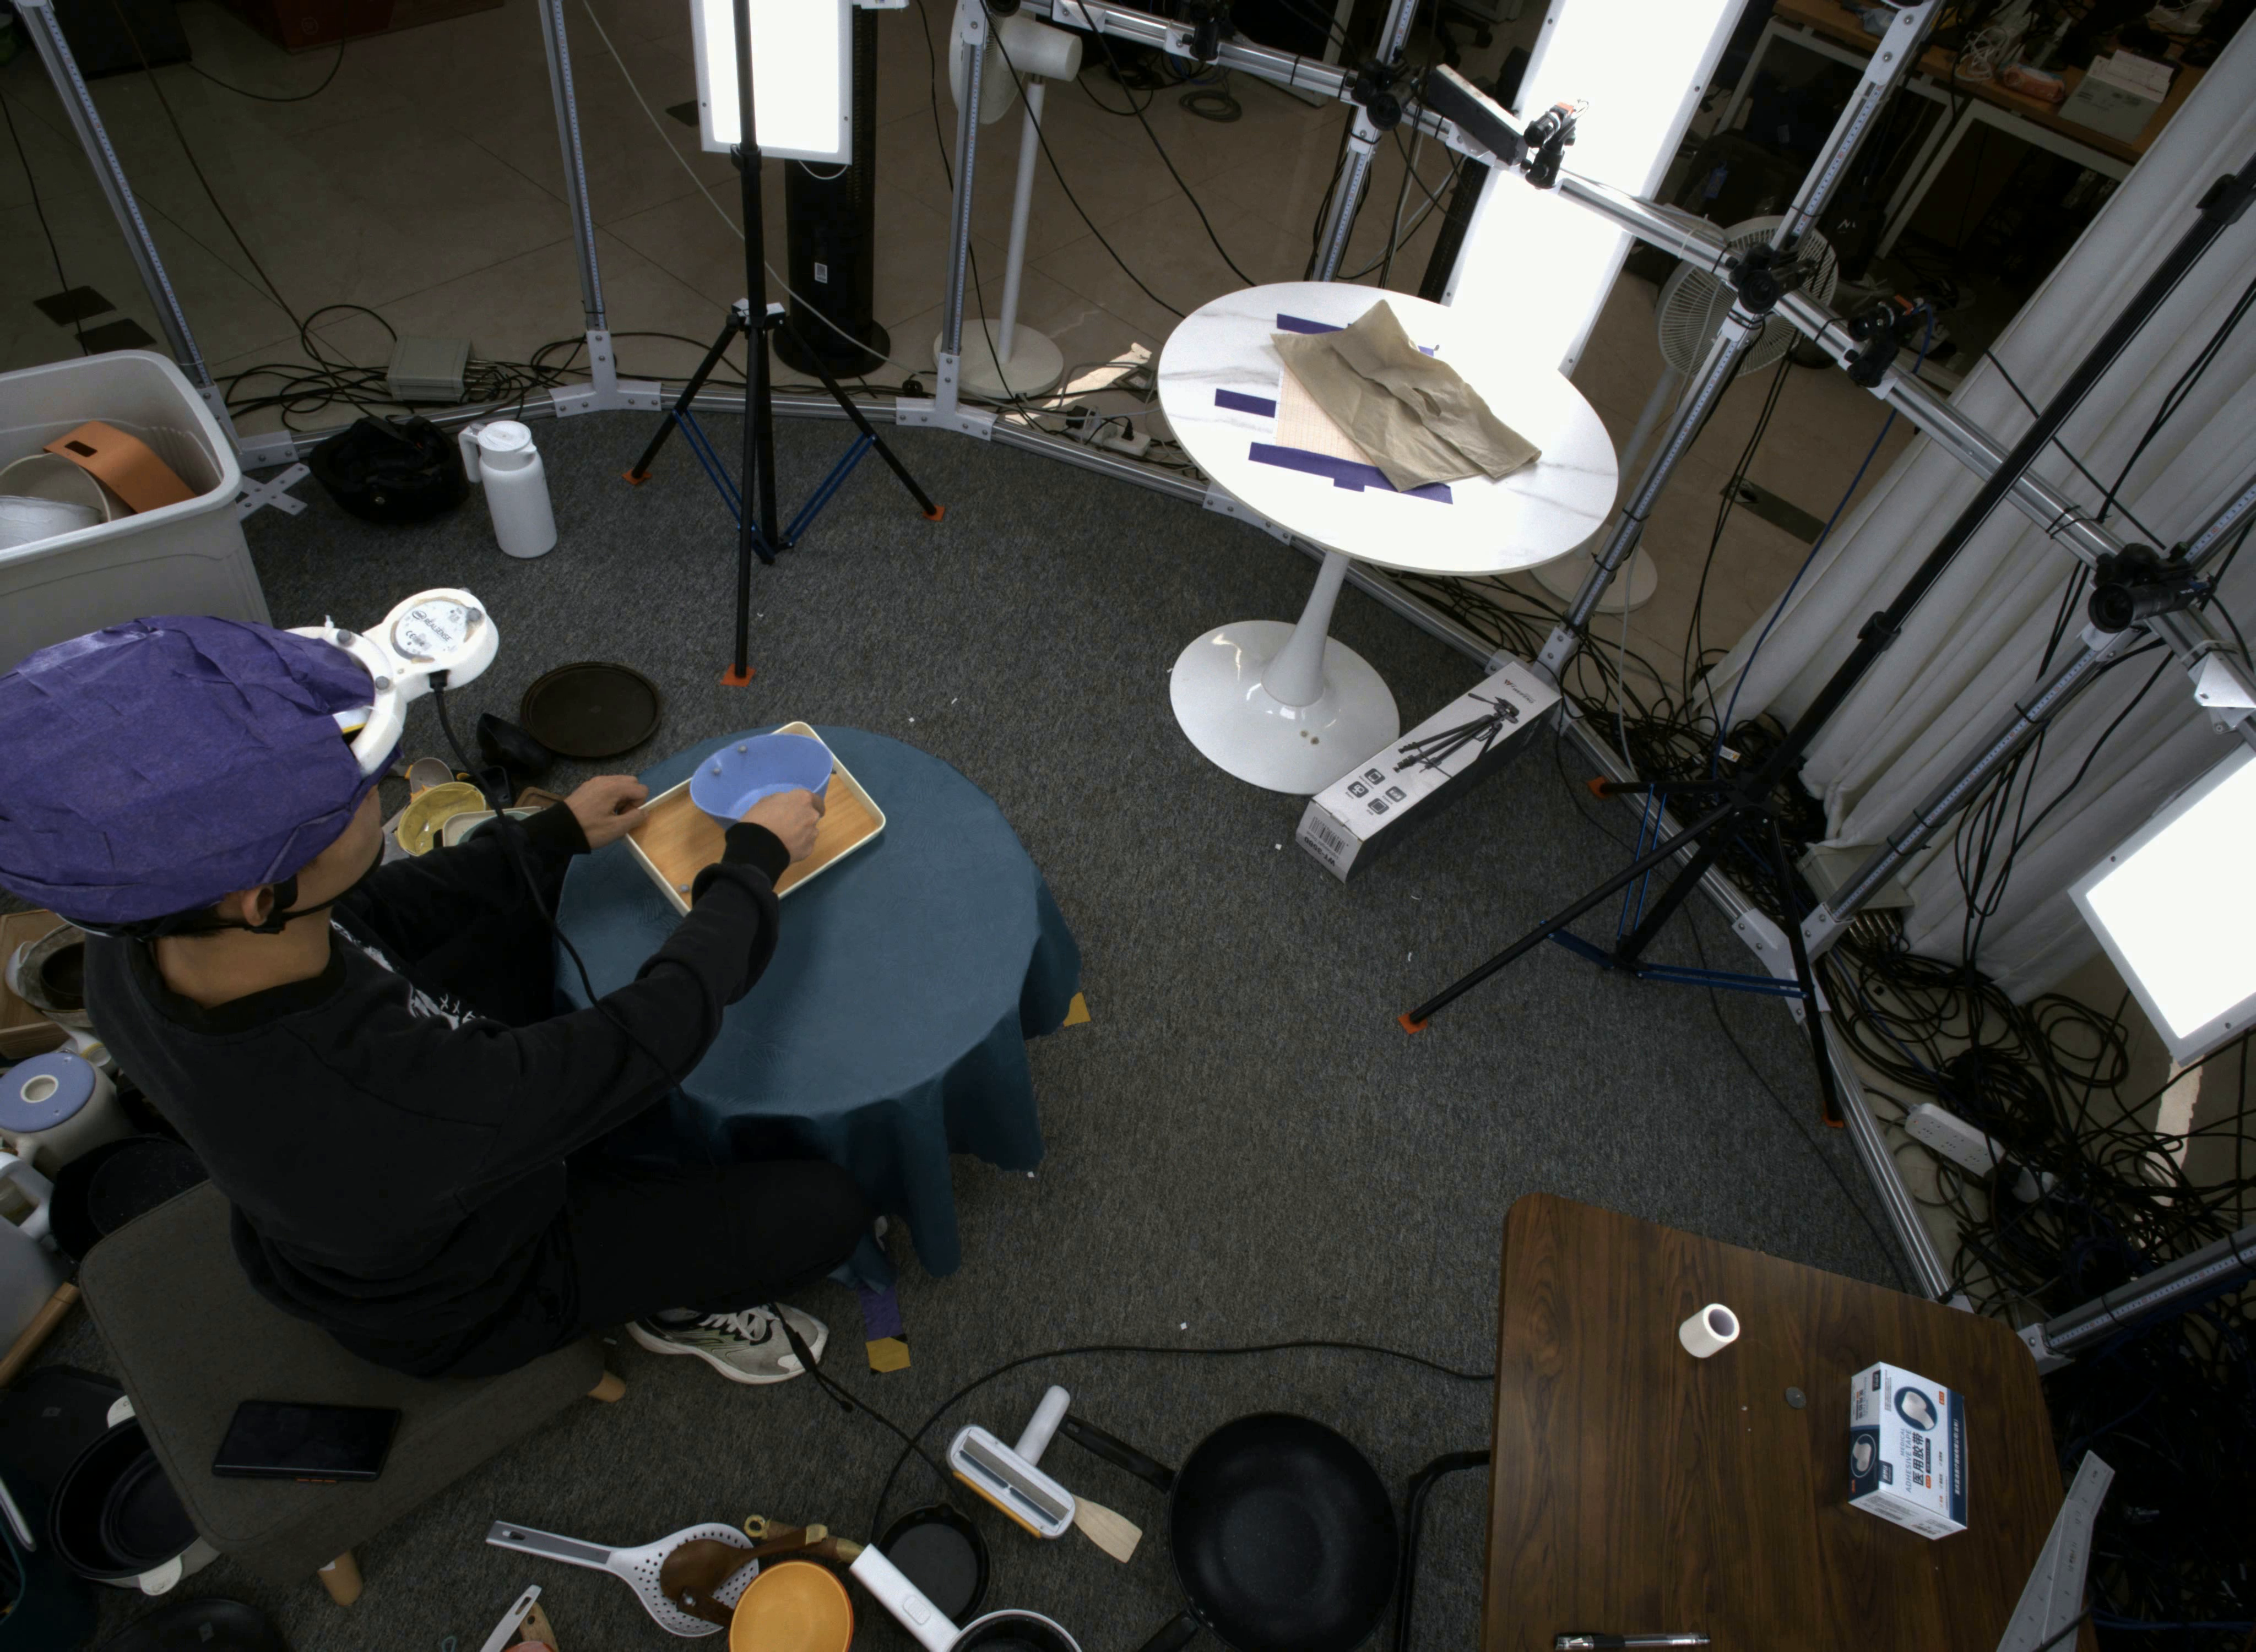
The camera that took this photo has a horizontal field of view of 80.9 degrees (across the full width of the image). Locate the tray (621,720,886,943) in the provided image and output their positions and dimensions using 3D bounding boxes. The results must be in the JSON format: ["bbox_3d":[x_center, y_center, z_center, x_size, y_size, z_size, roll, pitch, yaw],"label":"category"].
[{"bbox_3d":[-0.473,0.000,1.650,0.191,0.027,0.301,50,50,2],"label":"tray"}]

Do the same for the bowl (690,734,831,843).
[{"bbox_3d":[-0.446,-0.040,1.597,0.173,0.073,0.172,-3,36,4],"label":"bowl"}]
